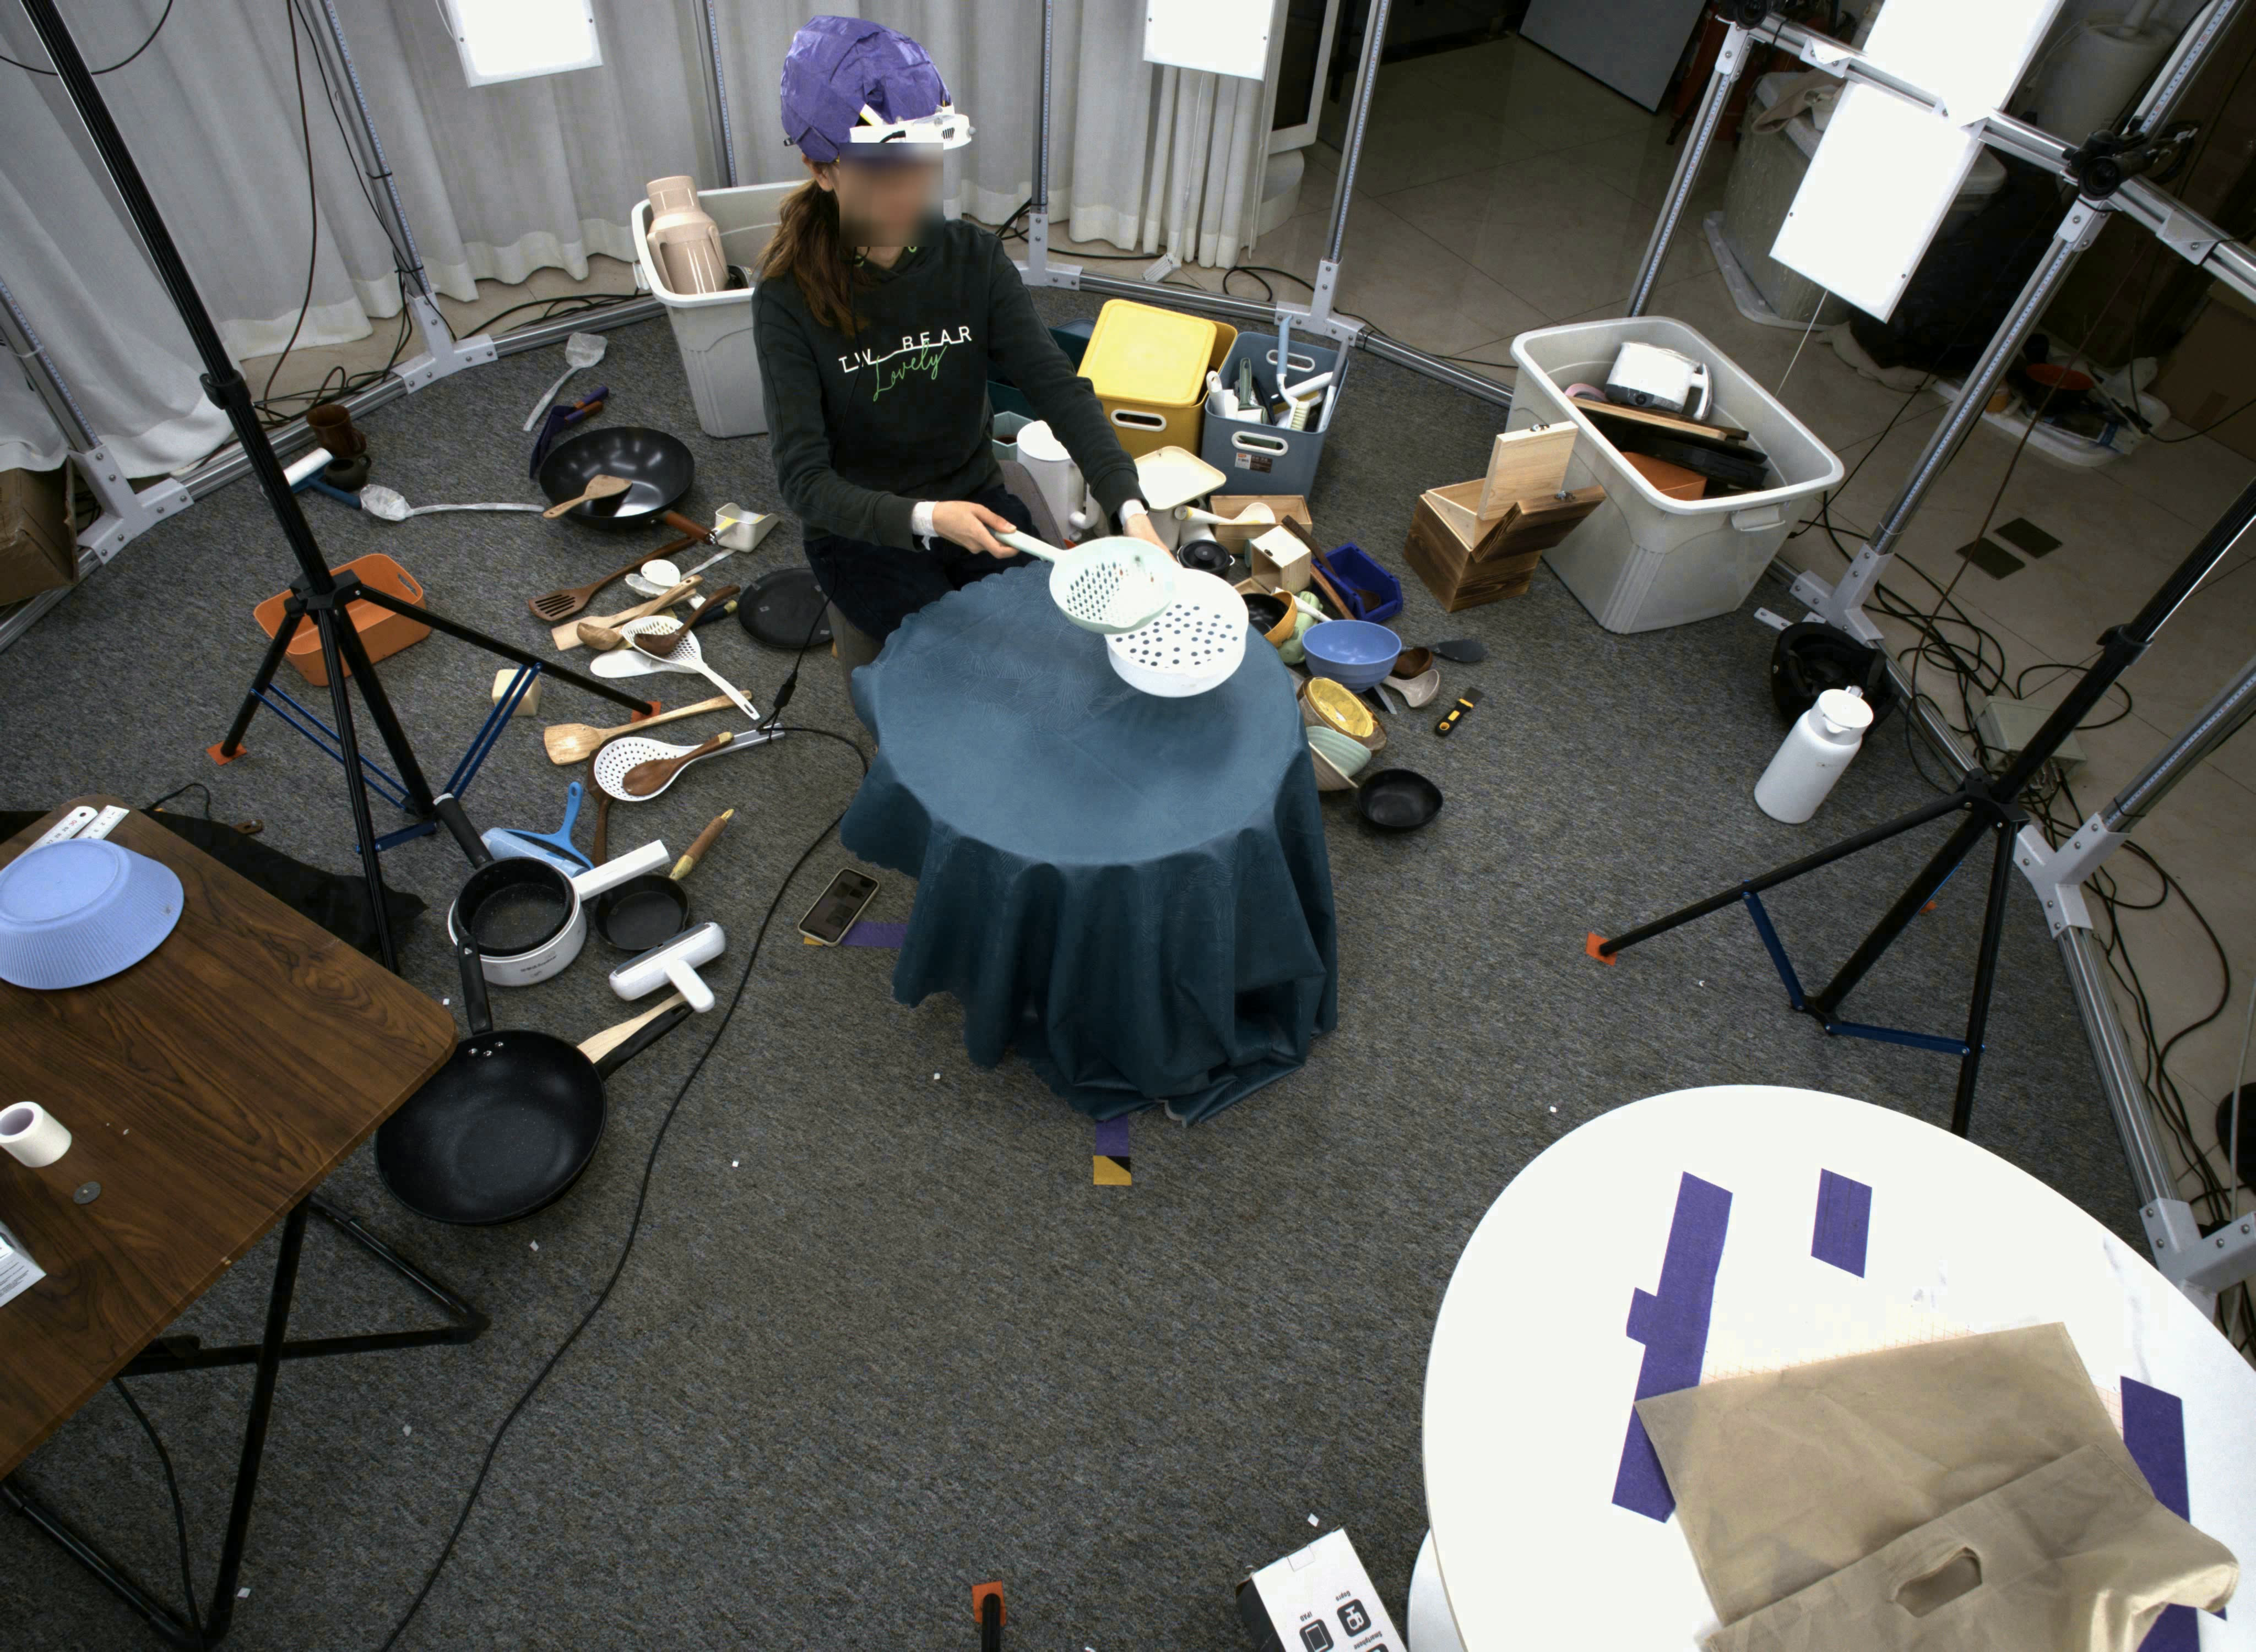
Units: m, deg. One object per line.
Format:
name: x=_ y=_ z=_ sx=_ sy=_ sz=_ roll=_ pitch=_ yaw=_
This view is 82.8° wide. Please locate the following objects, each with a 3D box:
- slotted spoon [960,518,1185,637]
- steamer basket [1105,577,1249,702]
slotted spoon: x=-0.094 y=-0.358 z=1.760 sx=0.363 sy=0.073 sz=0.171 roll=33 pitch=58 yaw=20
steamer basket: x=0.069 y=-0.260 z=1.799 sx=0.202 sy=0.067 sz=0.236 roll=-23 pitch=52 yaw=-15
